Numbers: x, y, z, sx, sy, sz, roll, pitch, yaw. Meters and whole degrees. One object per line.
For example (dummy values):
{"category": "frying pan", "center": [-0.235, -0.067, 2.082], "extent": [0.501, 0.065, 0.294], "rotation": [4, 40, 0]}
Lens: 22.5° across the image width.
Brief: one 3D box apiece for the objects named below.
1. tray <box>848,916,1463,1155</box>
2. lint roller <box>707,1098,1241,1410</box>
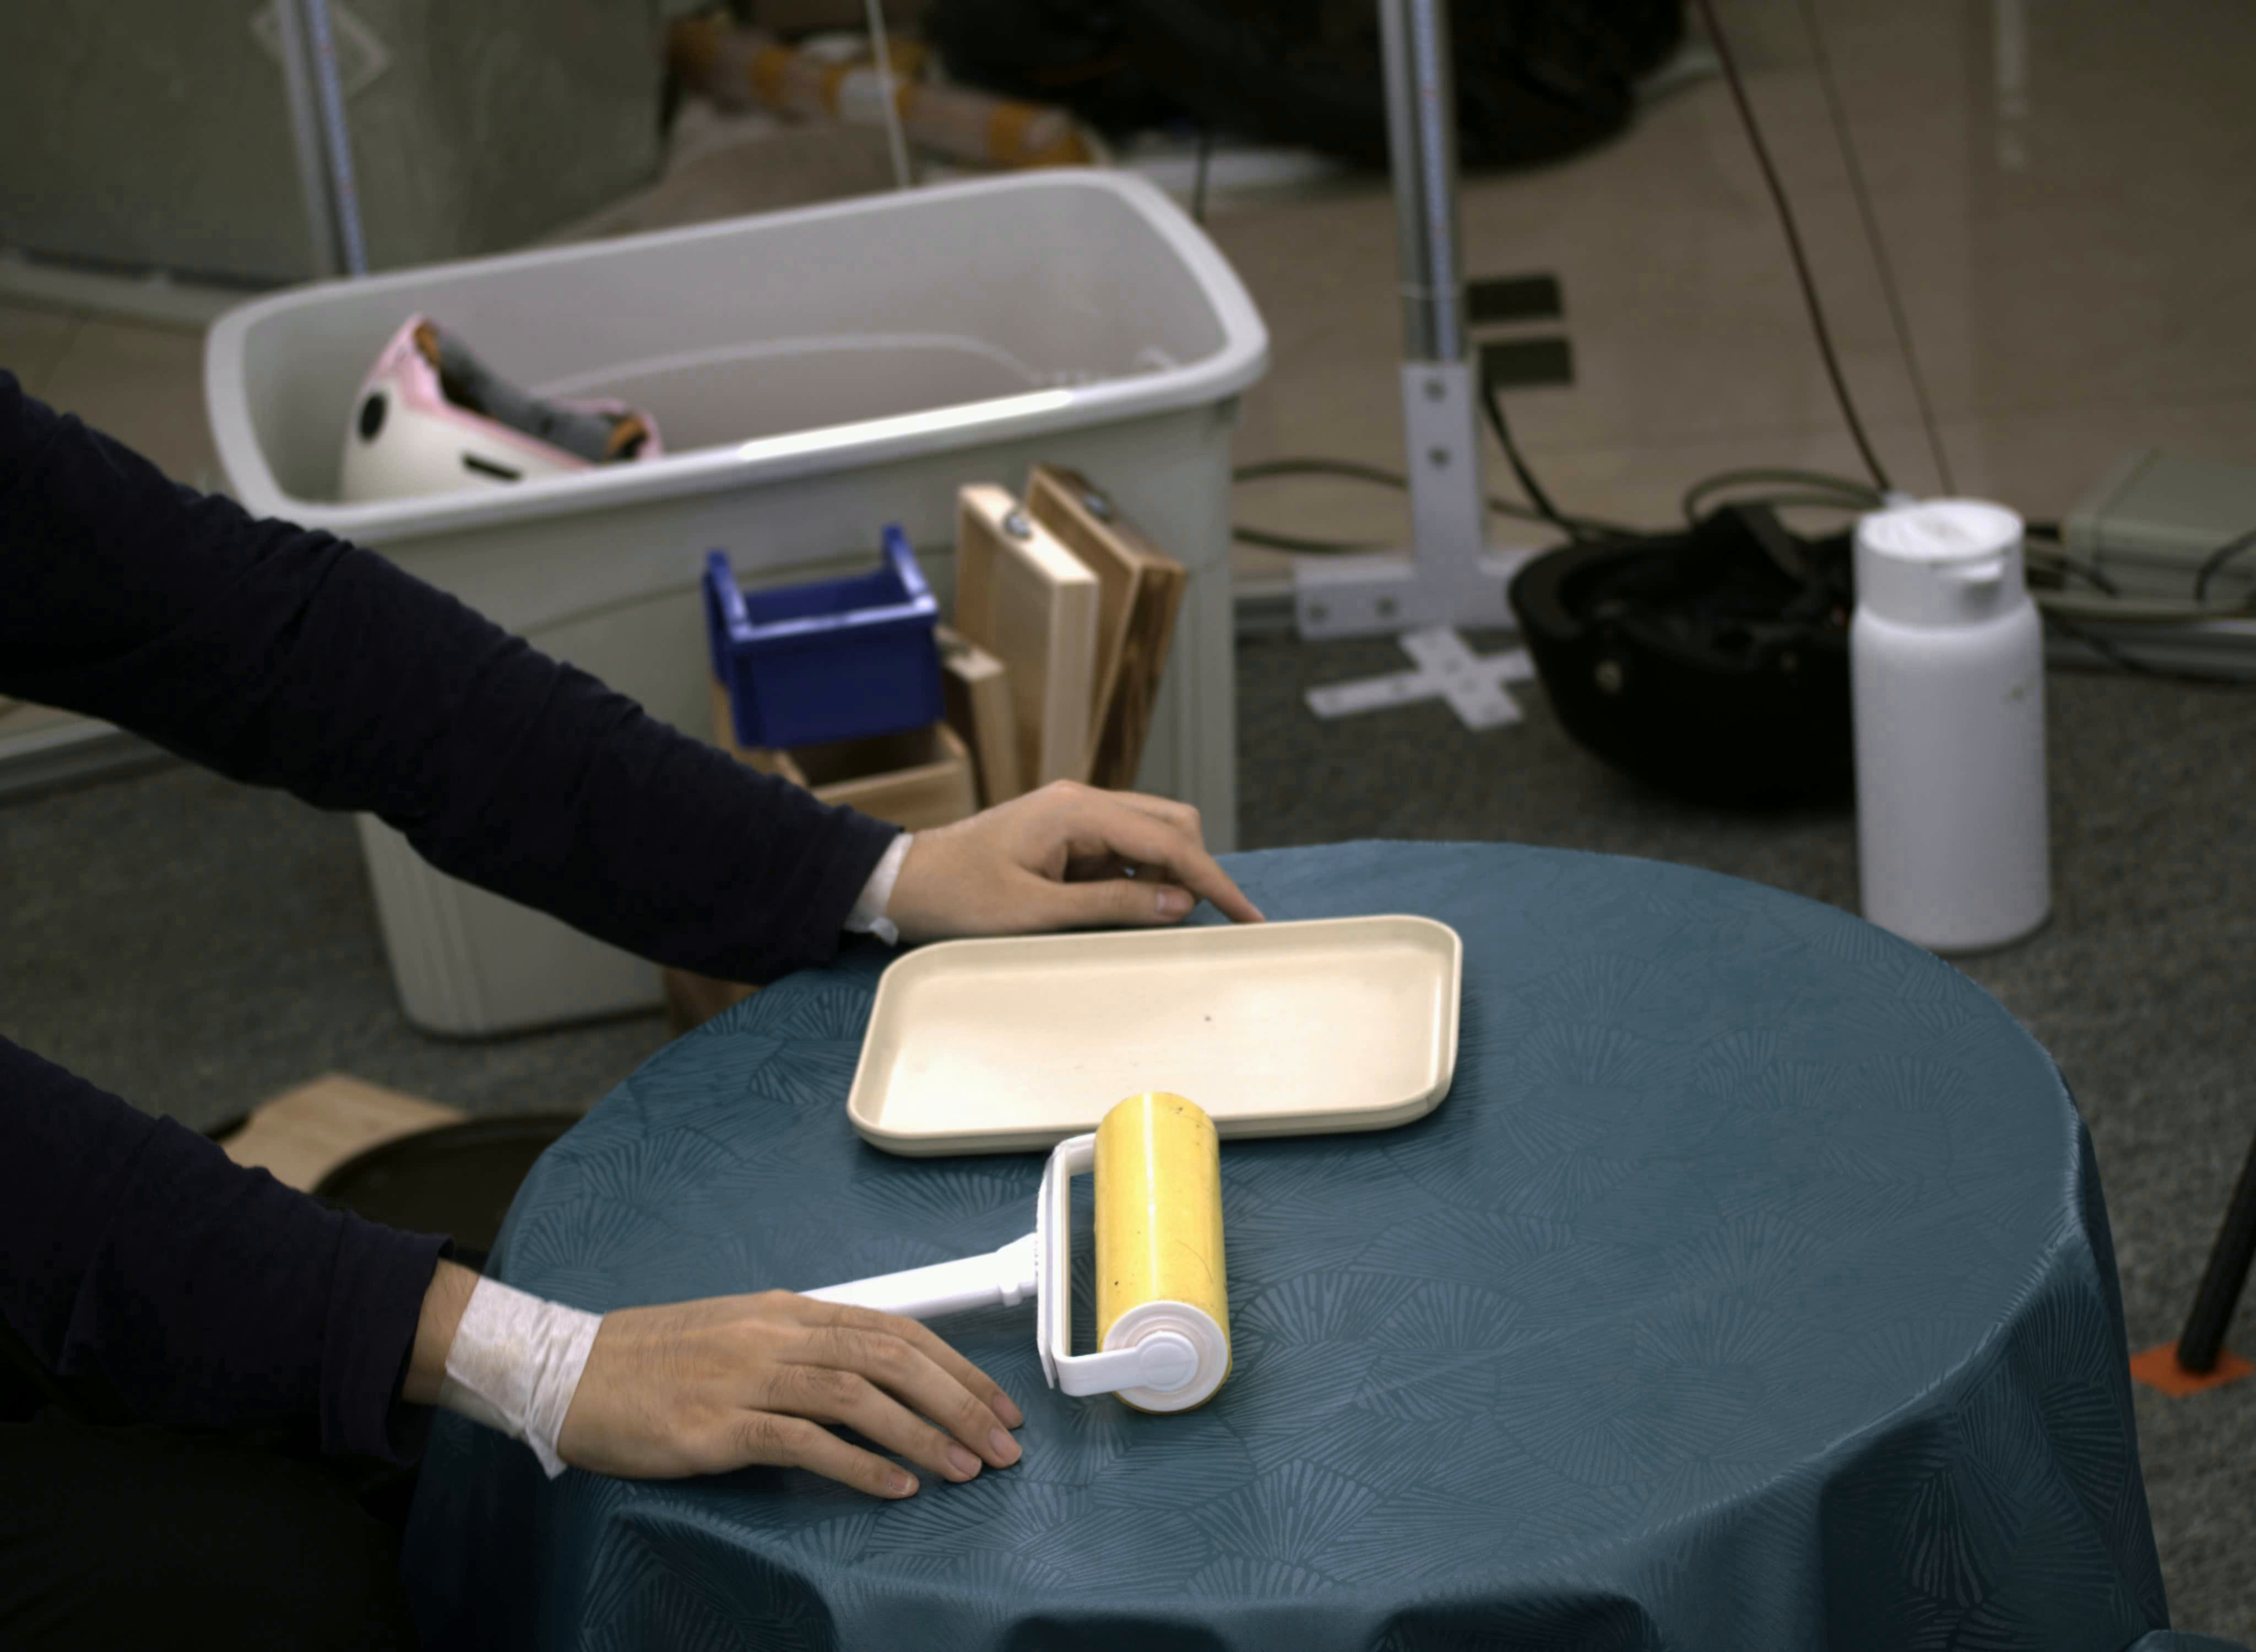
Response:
{"category": "tray", "center": [0.013, 0.084, 2.246], "extent": [0.239, 0.018, 0.169], "rotation": [-4, 24, 7]}
{"category": "lint roller", "center": [-0.058, 0.160, 2.060], "extent": [0.192, 0.052, 0.172], "rotation": [-3, 24, -1]}
